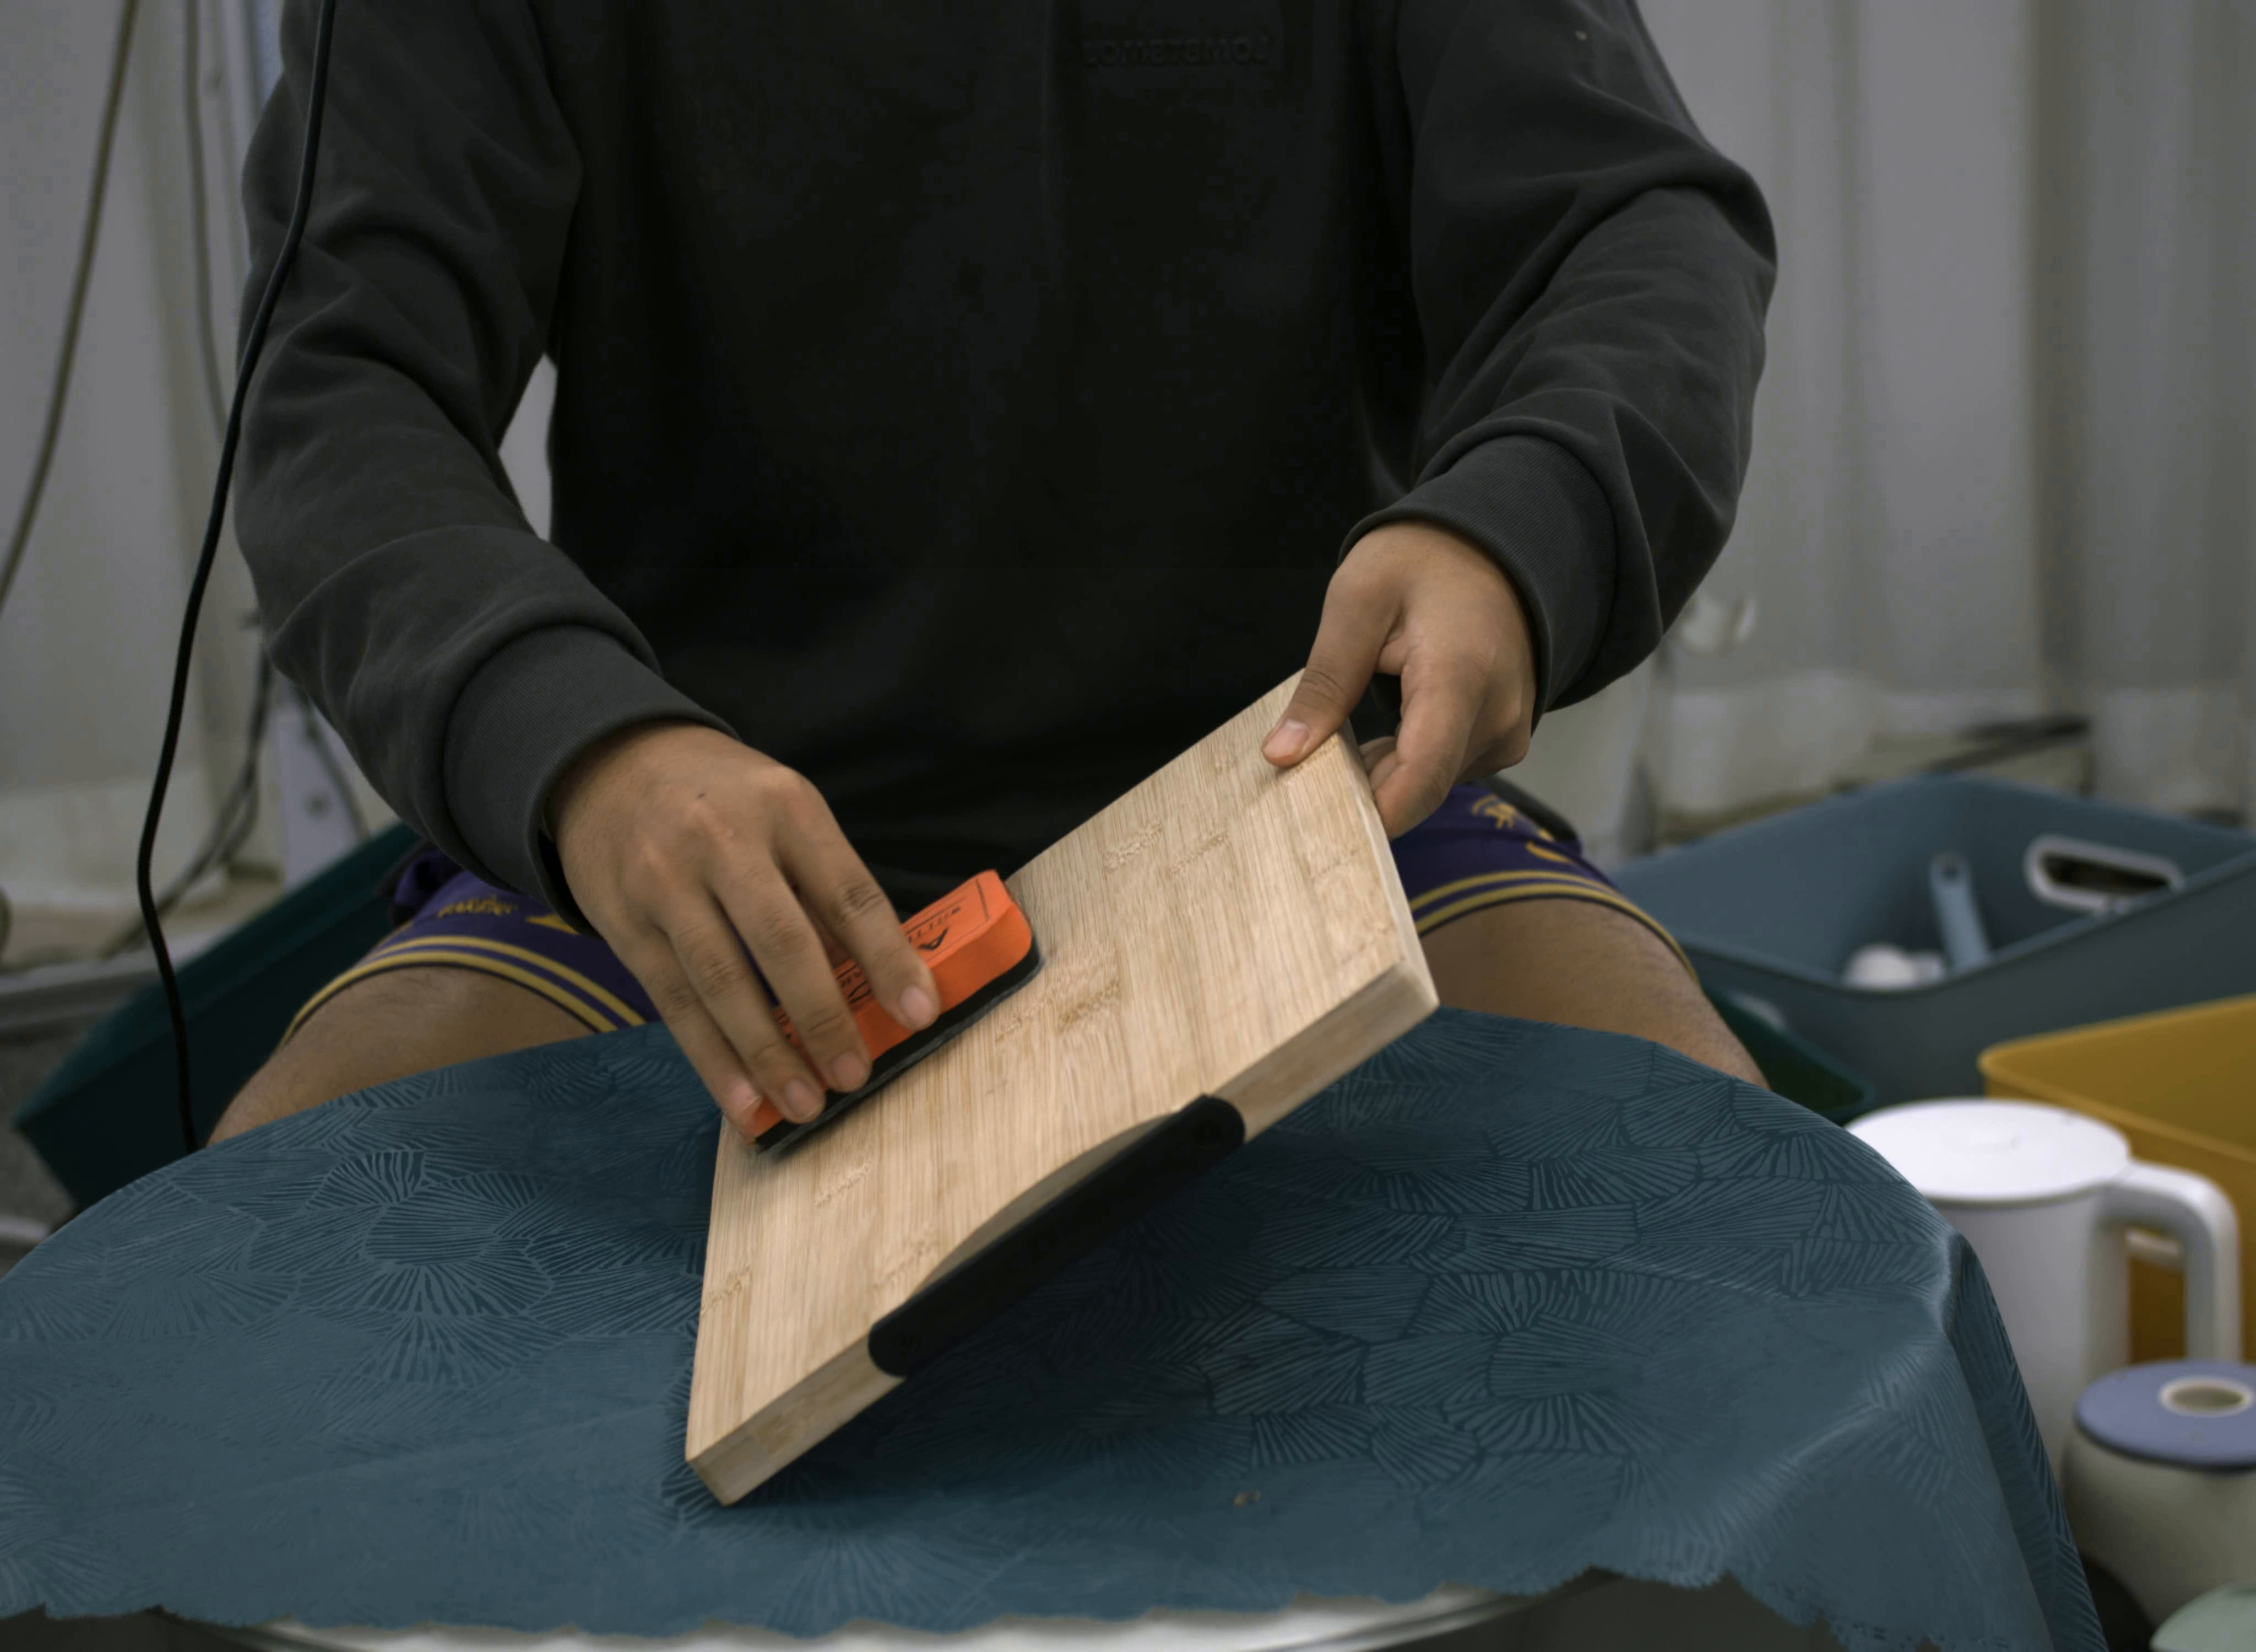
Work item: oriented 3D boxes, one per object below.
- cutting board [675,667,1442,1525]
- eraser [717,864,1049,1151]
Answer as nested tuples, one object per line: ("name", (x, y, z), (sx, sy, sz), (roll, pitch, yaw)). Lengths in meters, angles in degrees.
("cutting board", (-0.024, 0.068, 1.618), (0.250, 0.023, 0.351), (-36, 13, 6))
("eraser", (-0.076, 0.056, 1.689), (0.108, 0.023, 0.059), (-33, 18, 3))
